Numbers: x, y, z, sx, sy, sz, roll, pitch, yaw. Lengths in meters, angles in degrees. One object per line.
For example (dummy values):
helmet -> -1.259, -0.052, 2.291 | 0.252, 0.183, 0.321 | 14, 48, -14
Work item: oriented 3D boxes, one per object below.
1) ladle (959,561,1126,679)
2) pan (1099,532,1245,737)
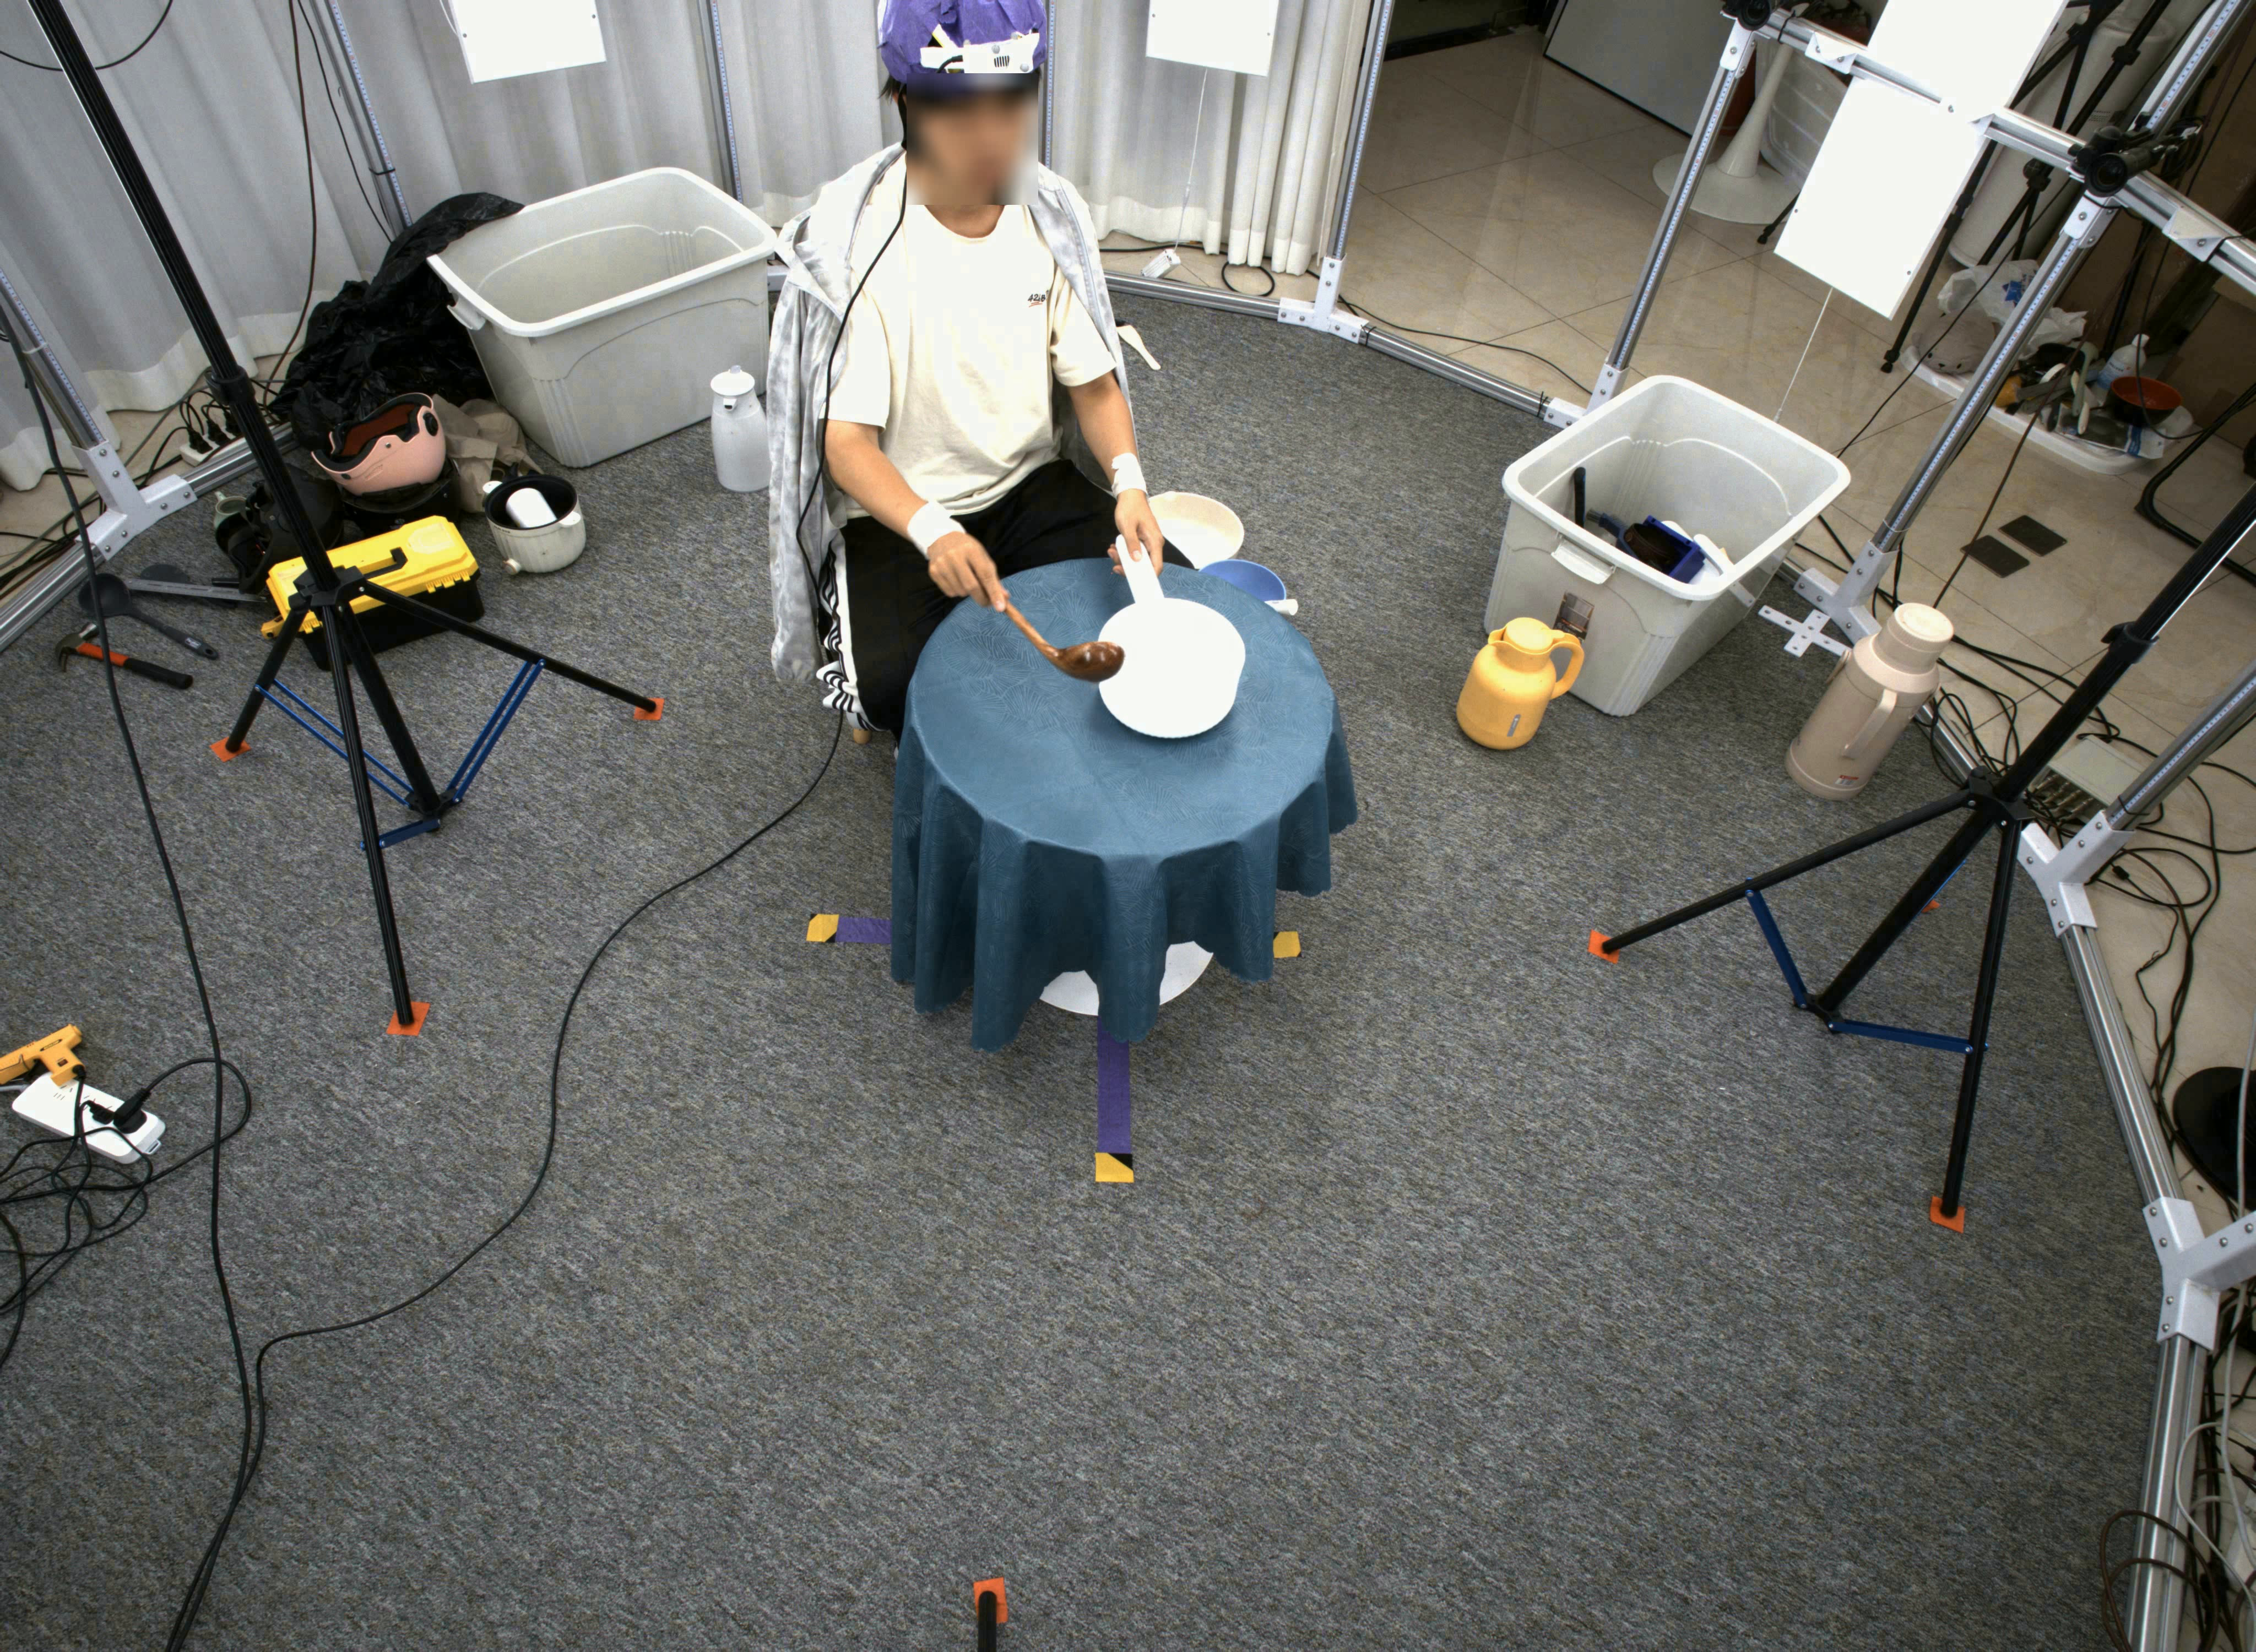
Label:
ladle -> -0.110, -0.279, 1.644 | 0.076, 0.080, 0.279 | -43, 64, 0
pan -> 0.041, -0.274, 1.838 | 0.201, 0.099, 0.364 | -8, 49, -10
